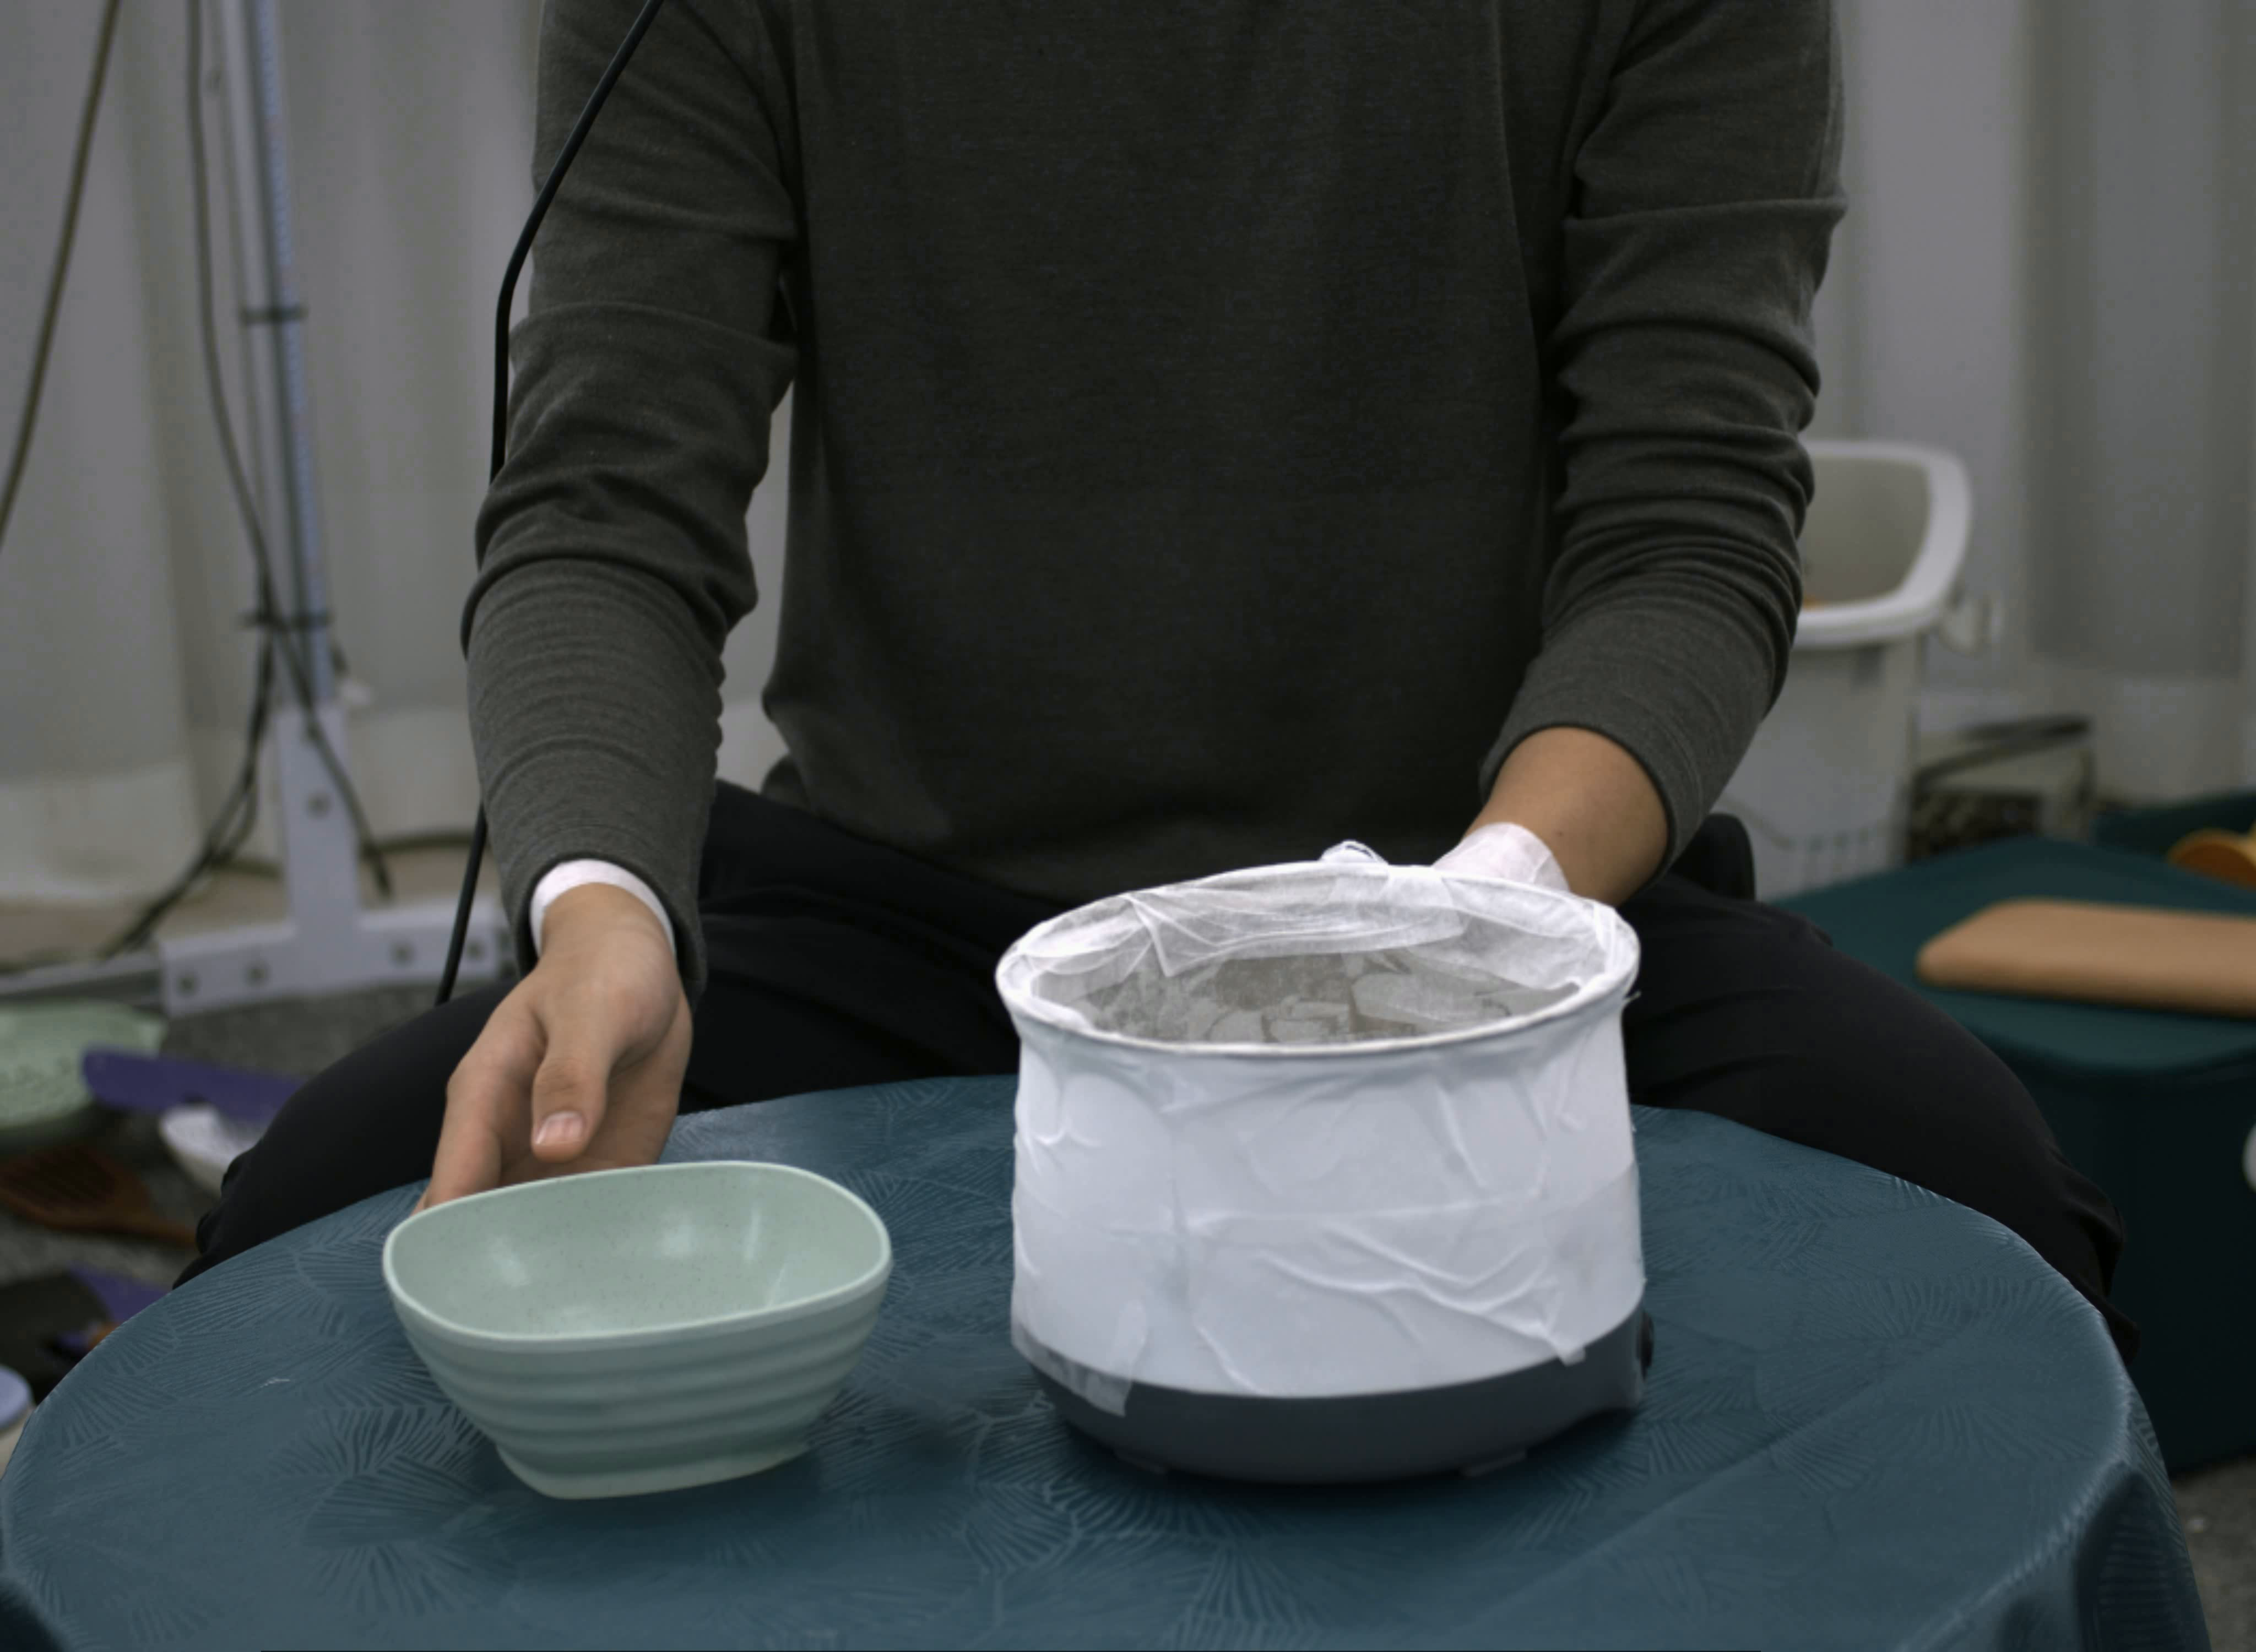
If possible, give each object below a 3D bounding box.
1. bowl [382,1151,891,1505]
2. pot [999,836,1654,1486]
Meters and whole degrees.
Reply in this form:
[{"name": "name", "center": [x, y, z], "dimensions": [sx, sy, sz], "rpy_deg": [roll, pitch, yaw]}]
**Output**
[{"name": "bowl", "center": [-0.135, 0.144, 1.523], "dimensions": [0.151, 0.058, 0.152], "rpy_deg": [-3, 17, 1]}, {"name": "pot", "center": [0.058, 0.088, 1.539], "dimensions": [0.178, 0.136, 0.235], "rpy_deg": [-1, 15, 7]}]
